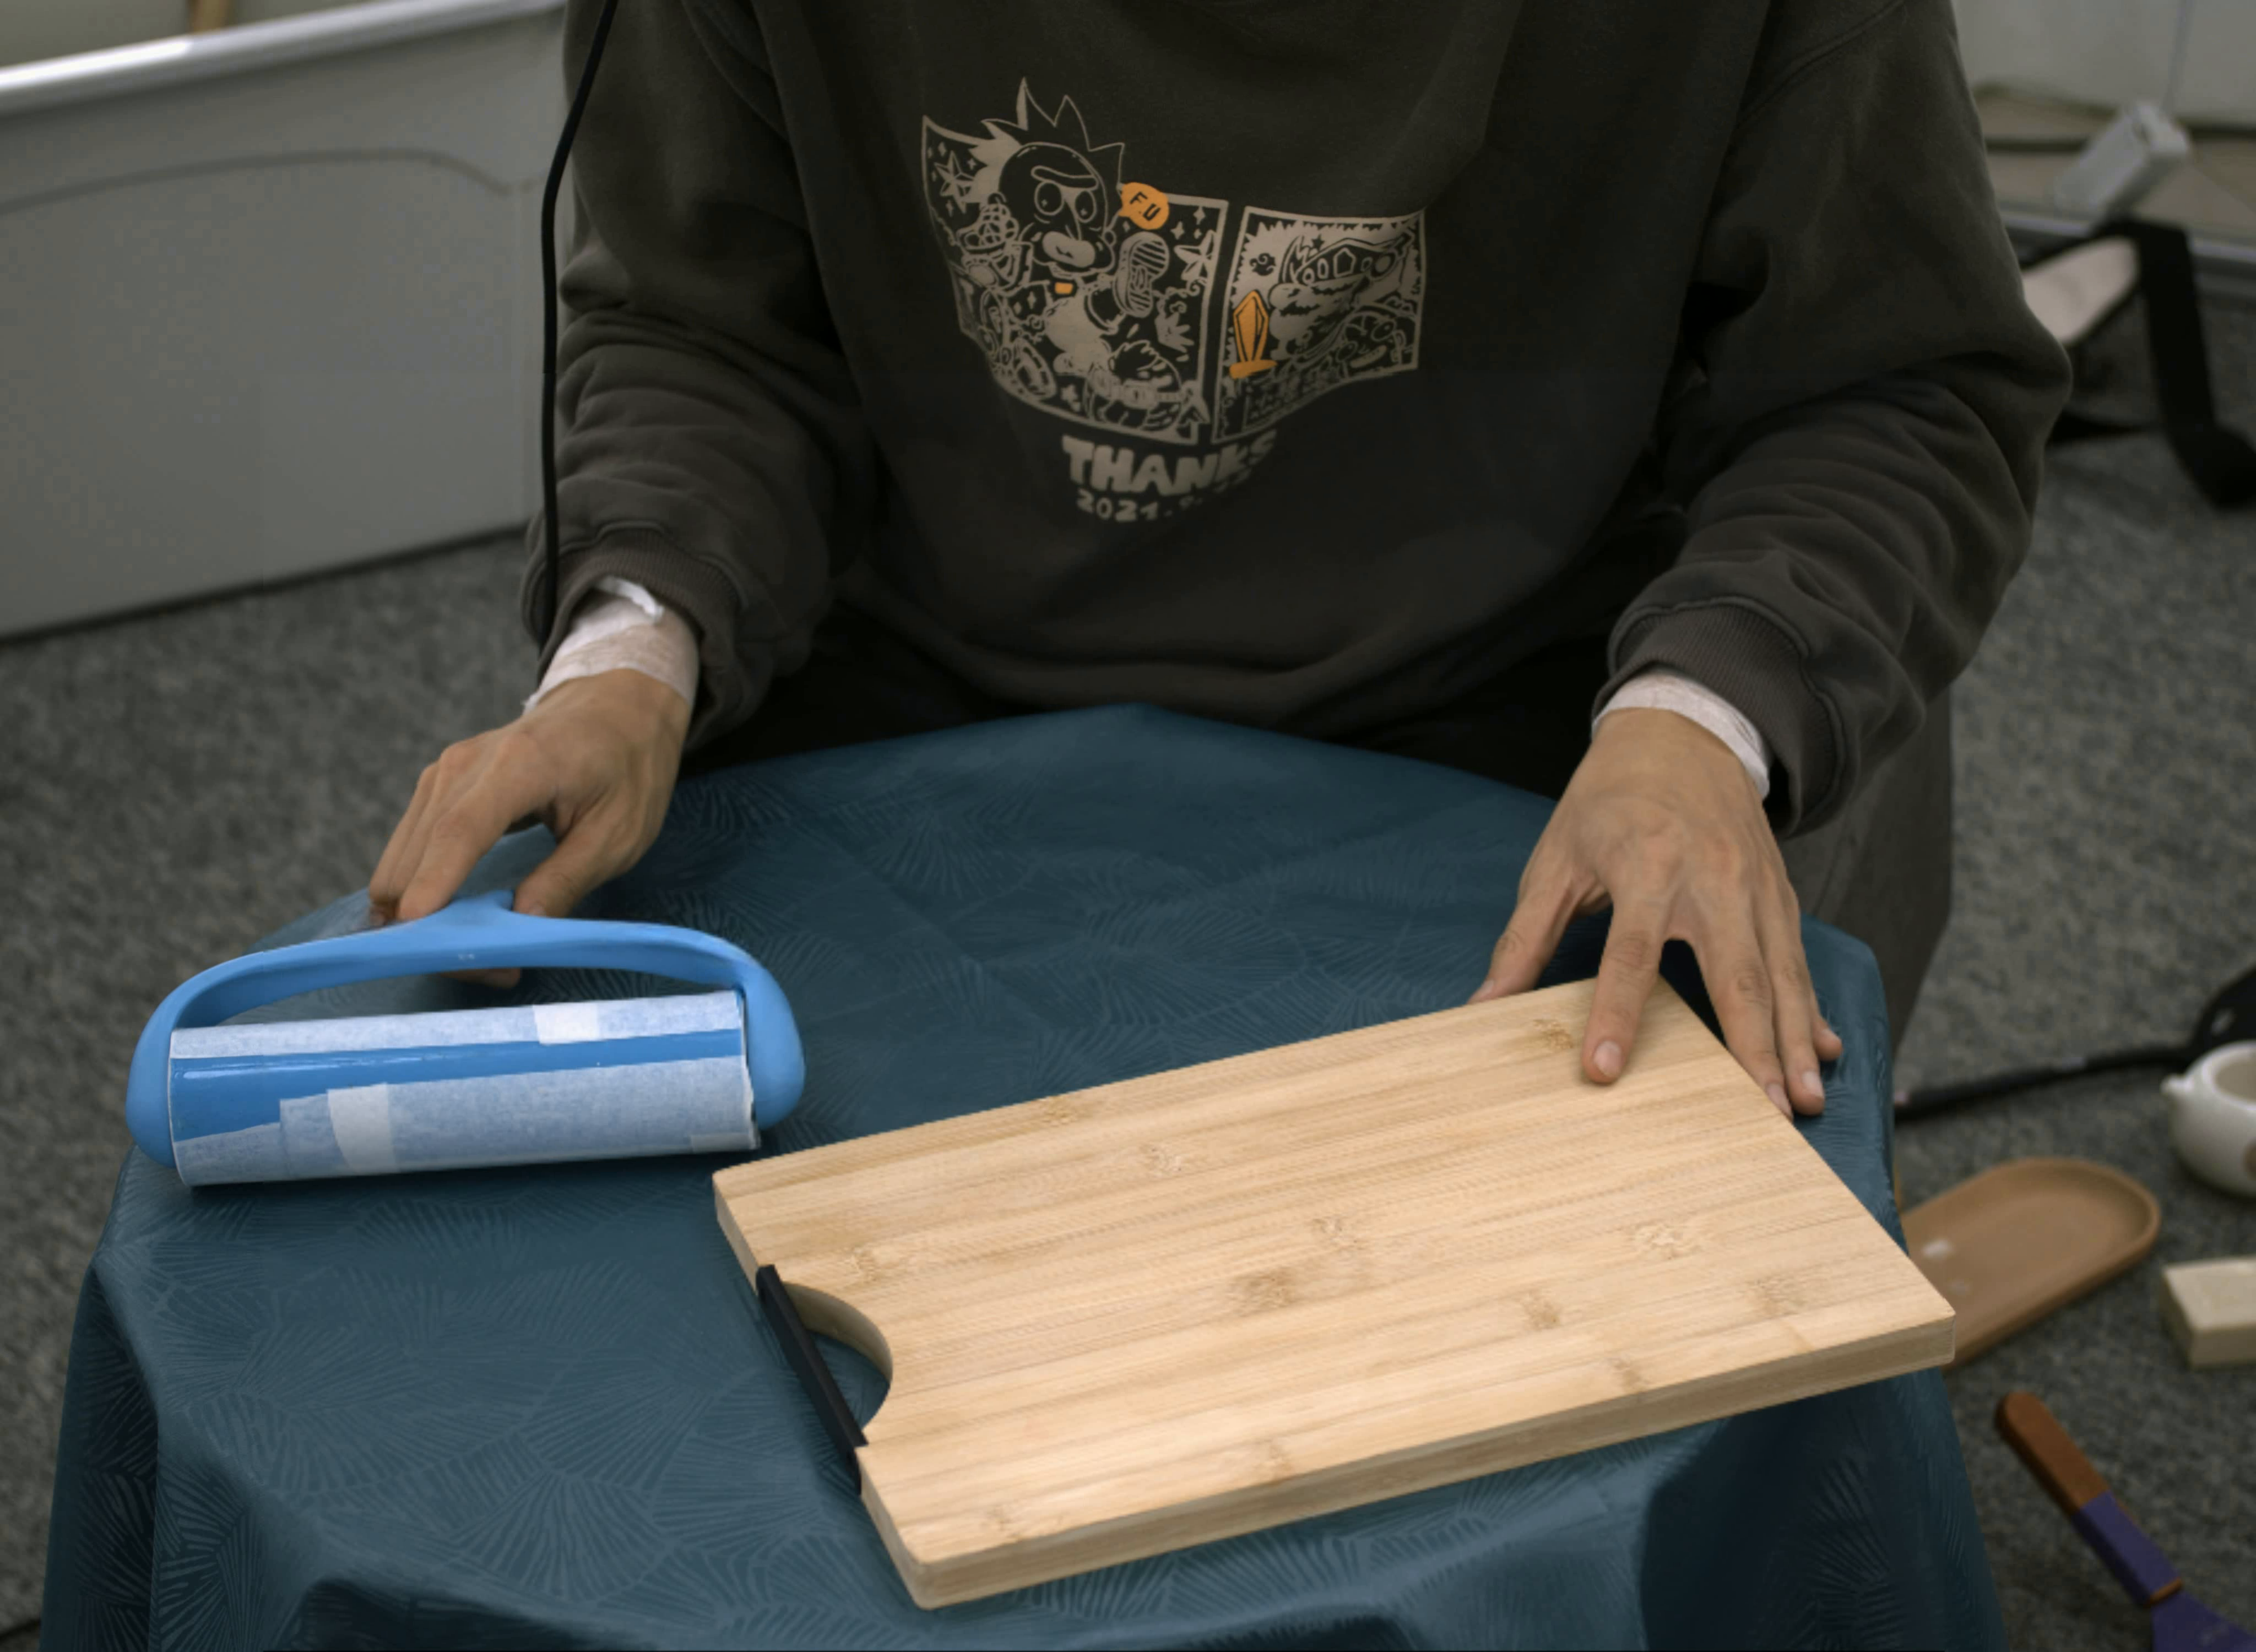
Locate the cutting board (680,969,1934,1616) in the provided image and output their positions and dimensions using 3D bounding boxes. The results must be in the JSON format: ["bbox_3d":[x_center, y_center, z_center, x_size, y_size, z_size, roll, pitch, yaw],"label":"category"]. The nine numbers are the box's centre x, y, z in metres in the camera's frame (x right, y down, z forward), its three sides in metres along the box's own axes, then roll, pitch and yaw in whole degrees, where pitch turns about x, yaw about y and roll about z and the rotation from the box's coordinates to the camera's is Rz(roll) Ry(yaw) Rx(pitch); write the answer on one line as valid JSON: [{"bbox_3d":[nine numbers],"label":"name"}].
[{"bbox_3d":[0.054,0.143,1.798,0.349,0.023,0.253,-12,28,-16],"label":"cutting board"}]

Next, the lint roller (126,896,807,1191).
[{"bbox_3d":[-0.226,0.060,1.940,0.228,0.067,0.183,-6,29,-2],"label":"lint roller"}]
